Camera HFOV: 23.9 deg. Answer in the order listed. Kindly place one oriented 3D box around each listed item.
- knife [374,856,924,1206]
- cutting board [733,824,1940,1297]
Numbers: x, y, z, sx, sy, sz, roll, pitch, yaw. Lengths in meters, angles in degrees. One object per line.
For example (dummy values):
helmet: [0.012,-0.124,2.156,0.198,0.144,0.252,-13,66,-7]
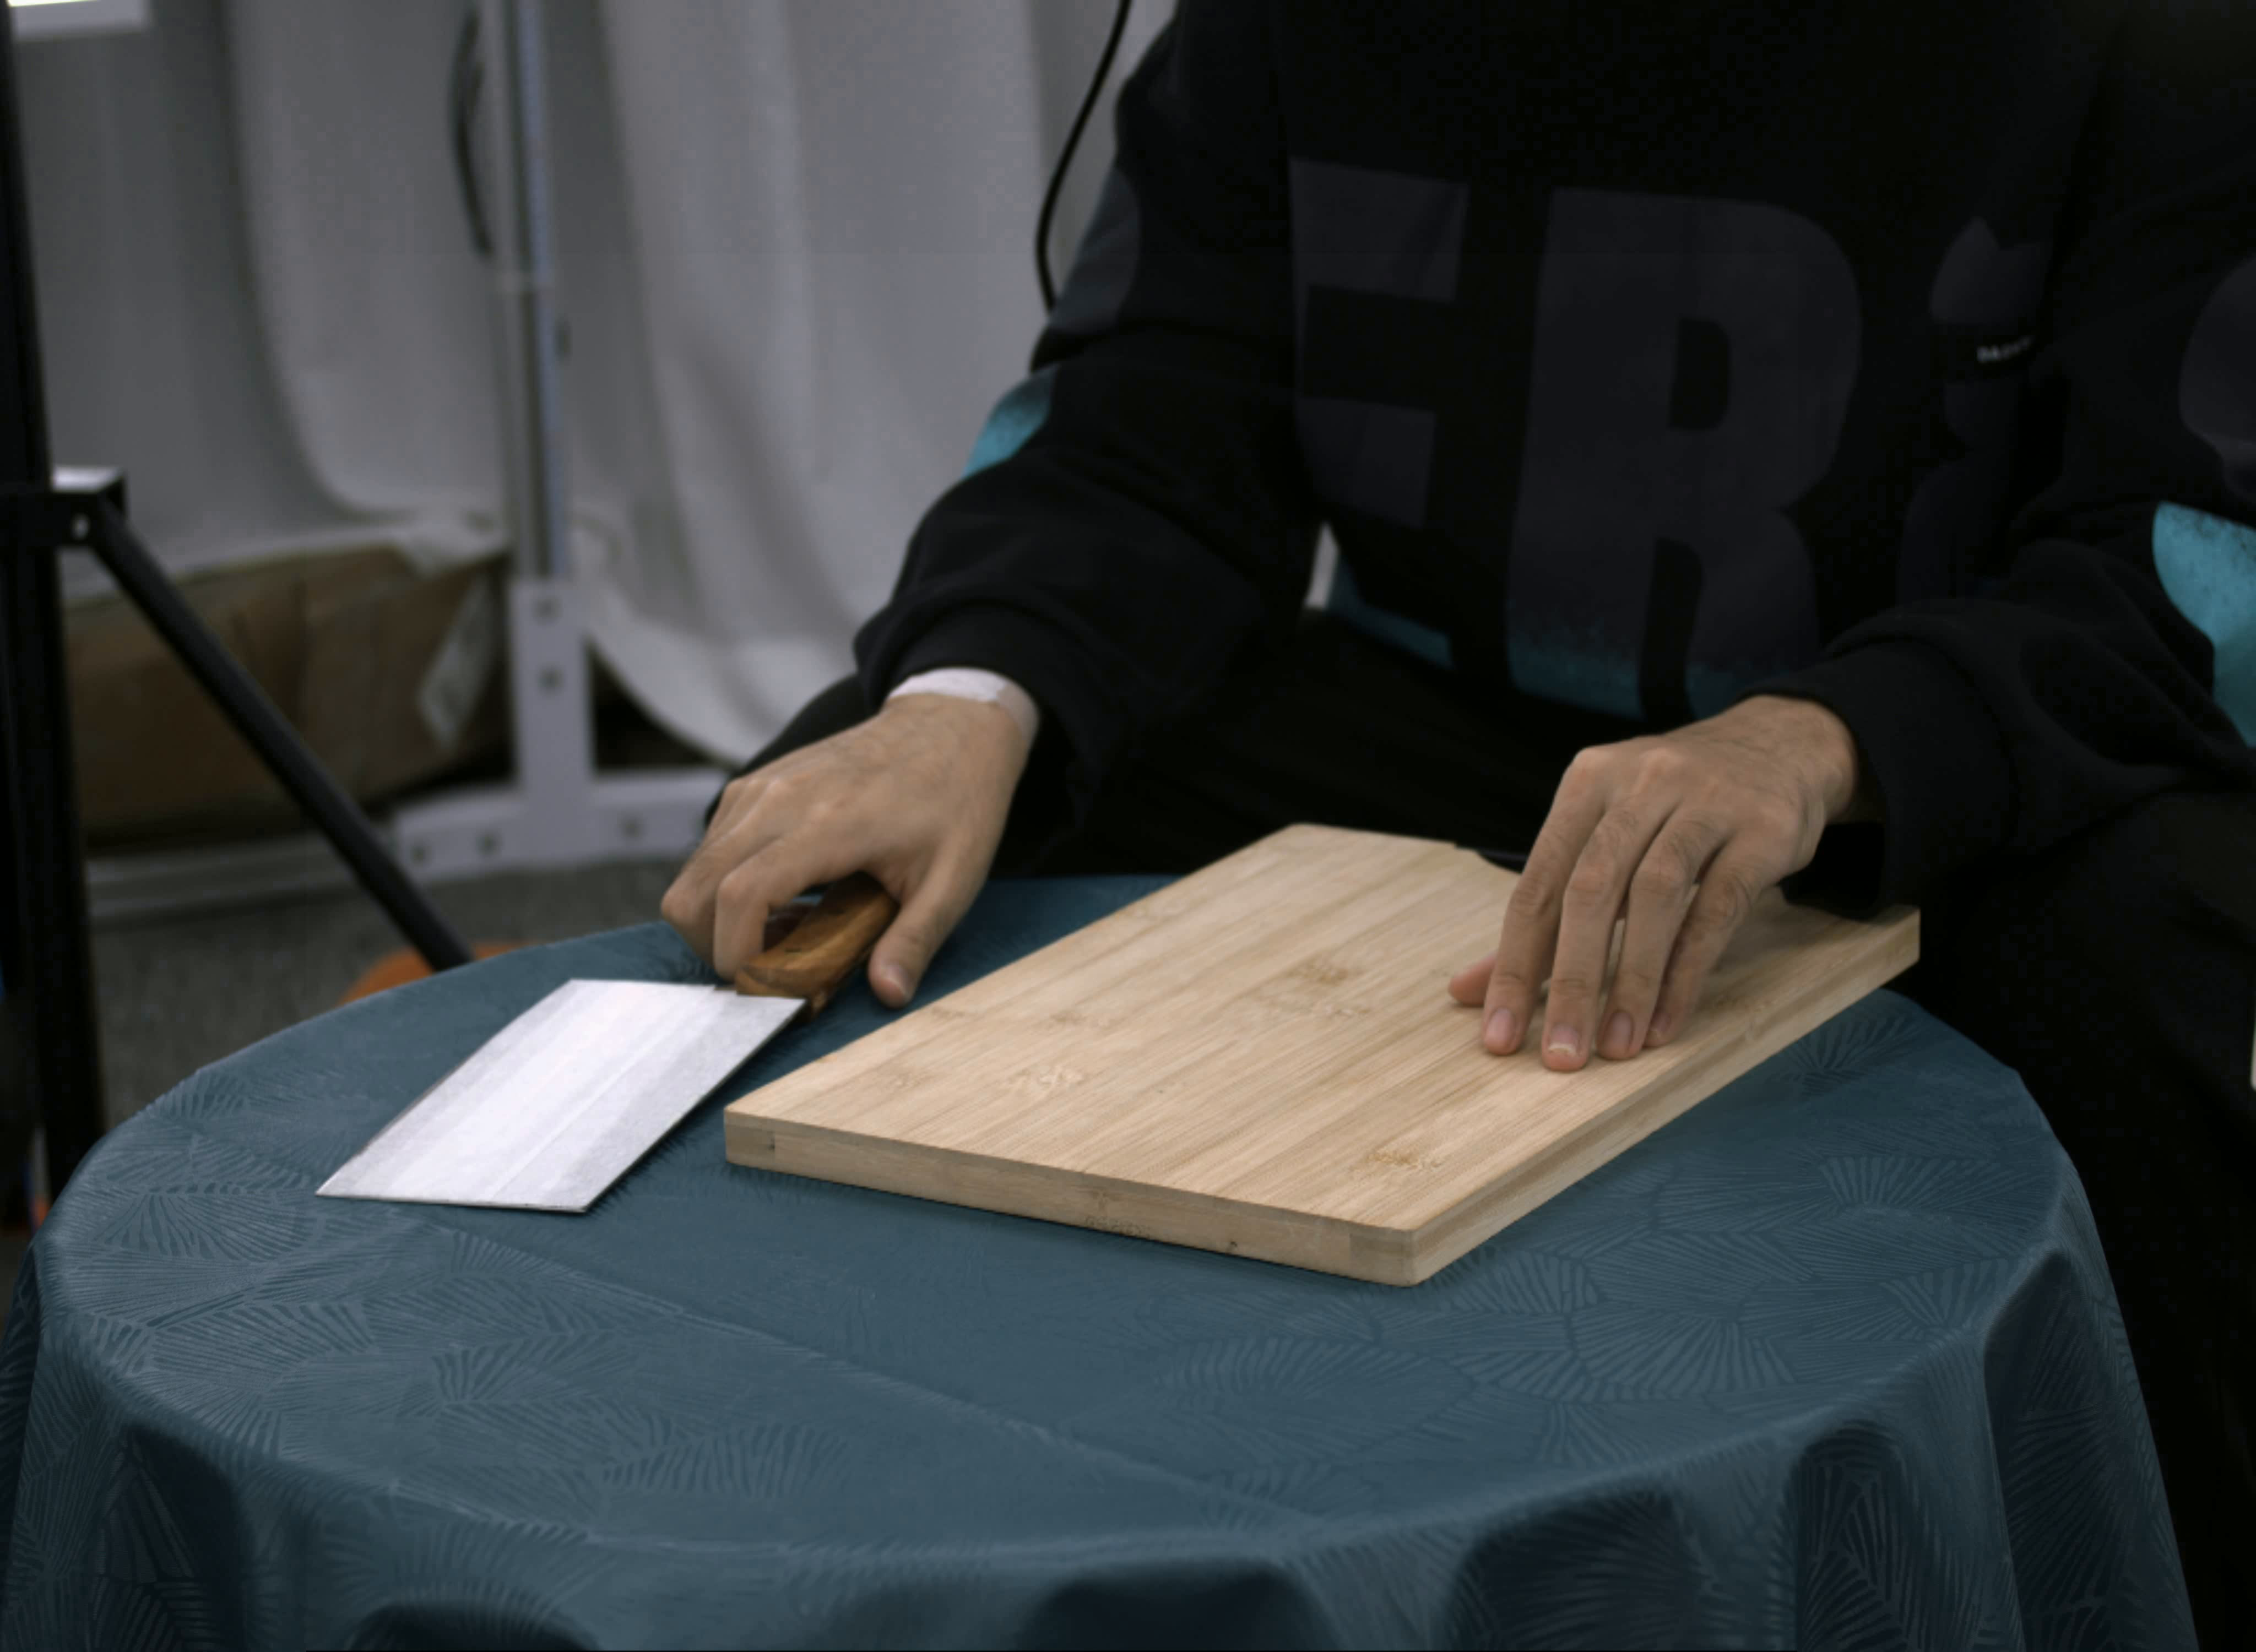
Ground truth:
knife: [-0.152,0.064,1.711,0.094,0.021,0.303,1,18,19]
cutting board: [0.072,0.065,1.669,0.255,0.023,0.342,8,19,32]
